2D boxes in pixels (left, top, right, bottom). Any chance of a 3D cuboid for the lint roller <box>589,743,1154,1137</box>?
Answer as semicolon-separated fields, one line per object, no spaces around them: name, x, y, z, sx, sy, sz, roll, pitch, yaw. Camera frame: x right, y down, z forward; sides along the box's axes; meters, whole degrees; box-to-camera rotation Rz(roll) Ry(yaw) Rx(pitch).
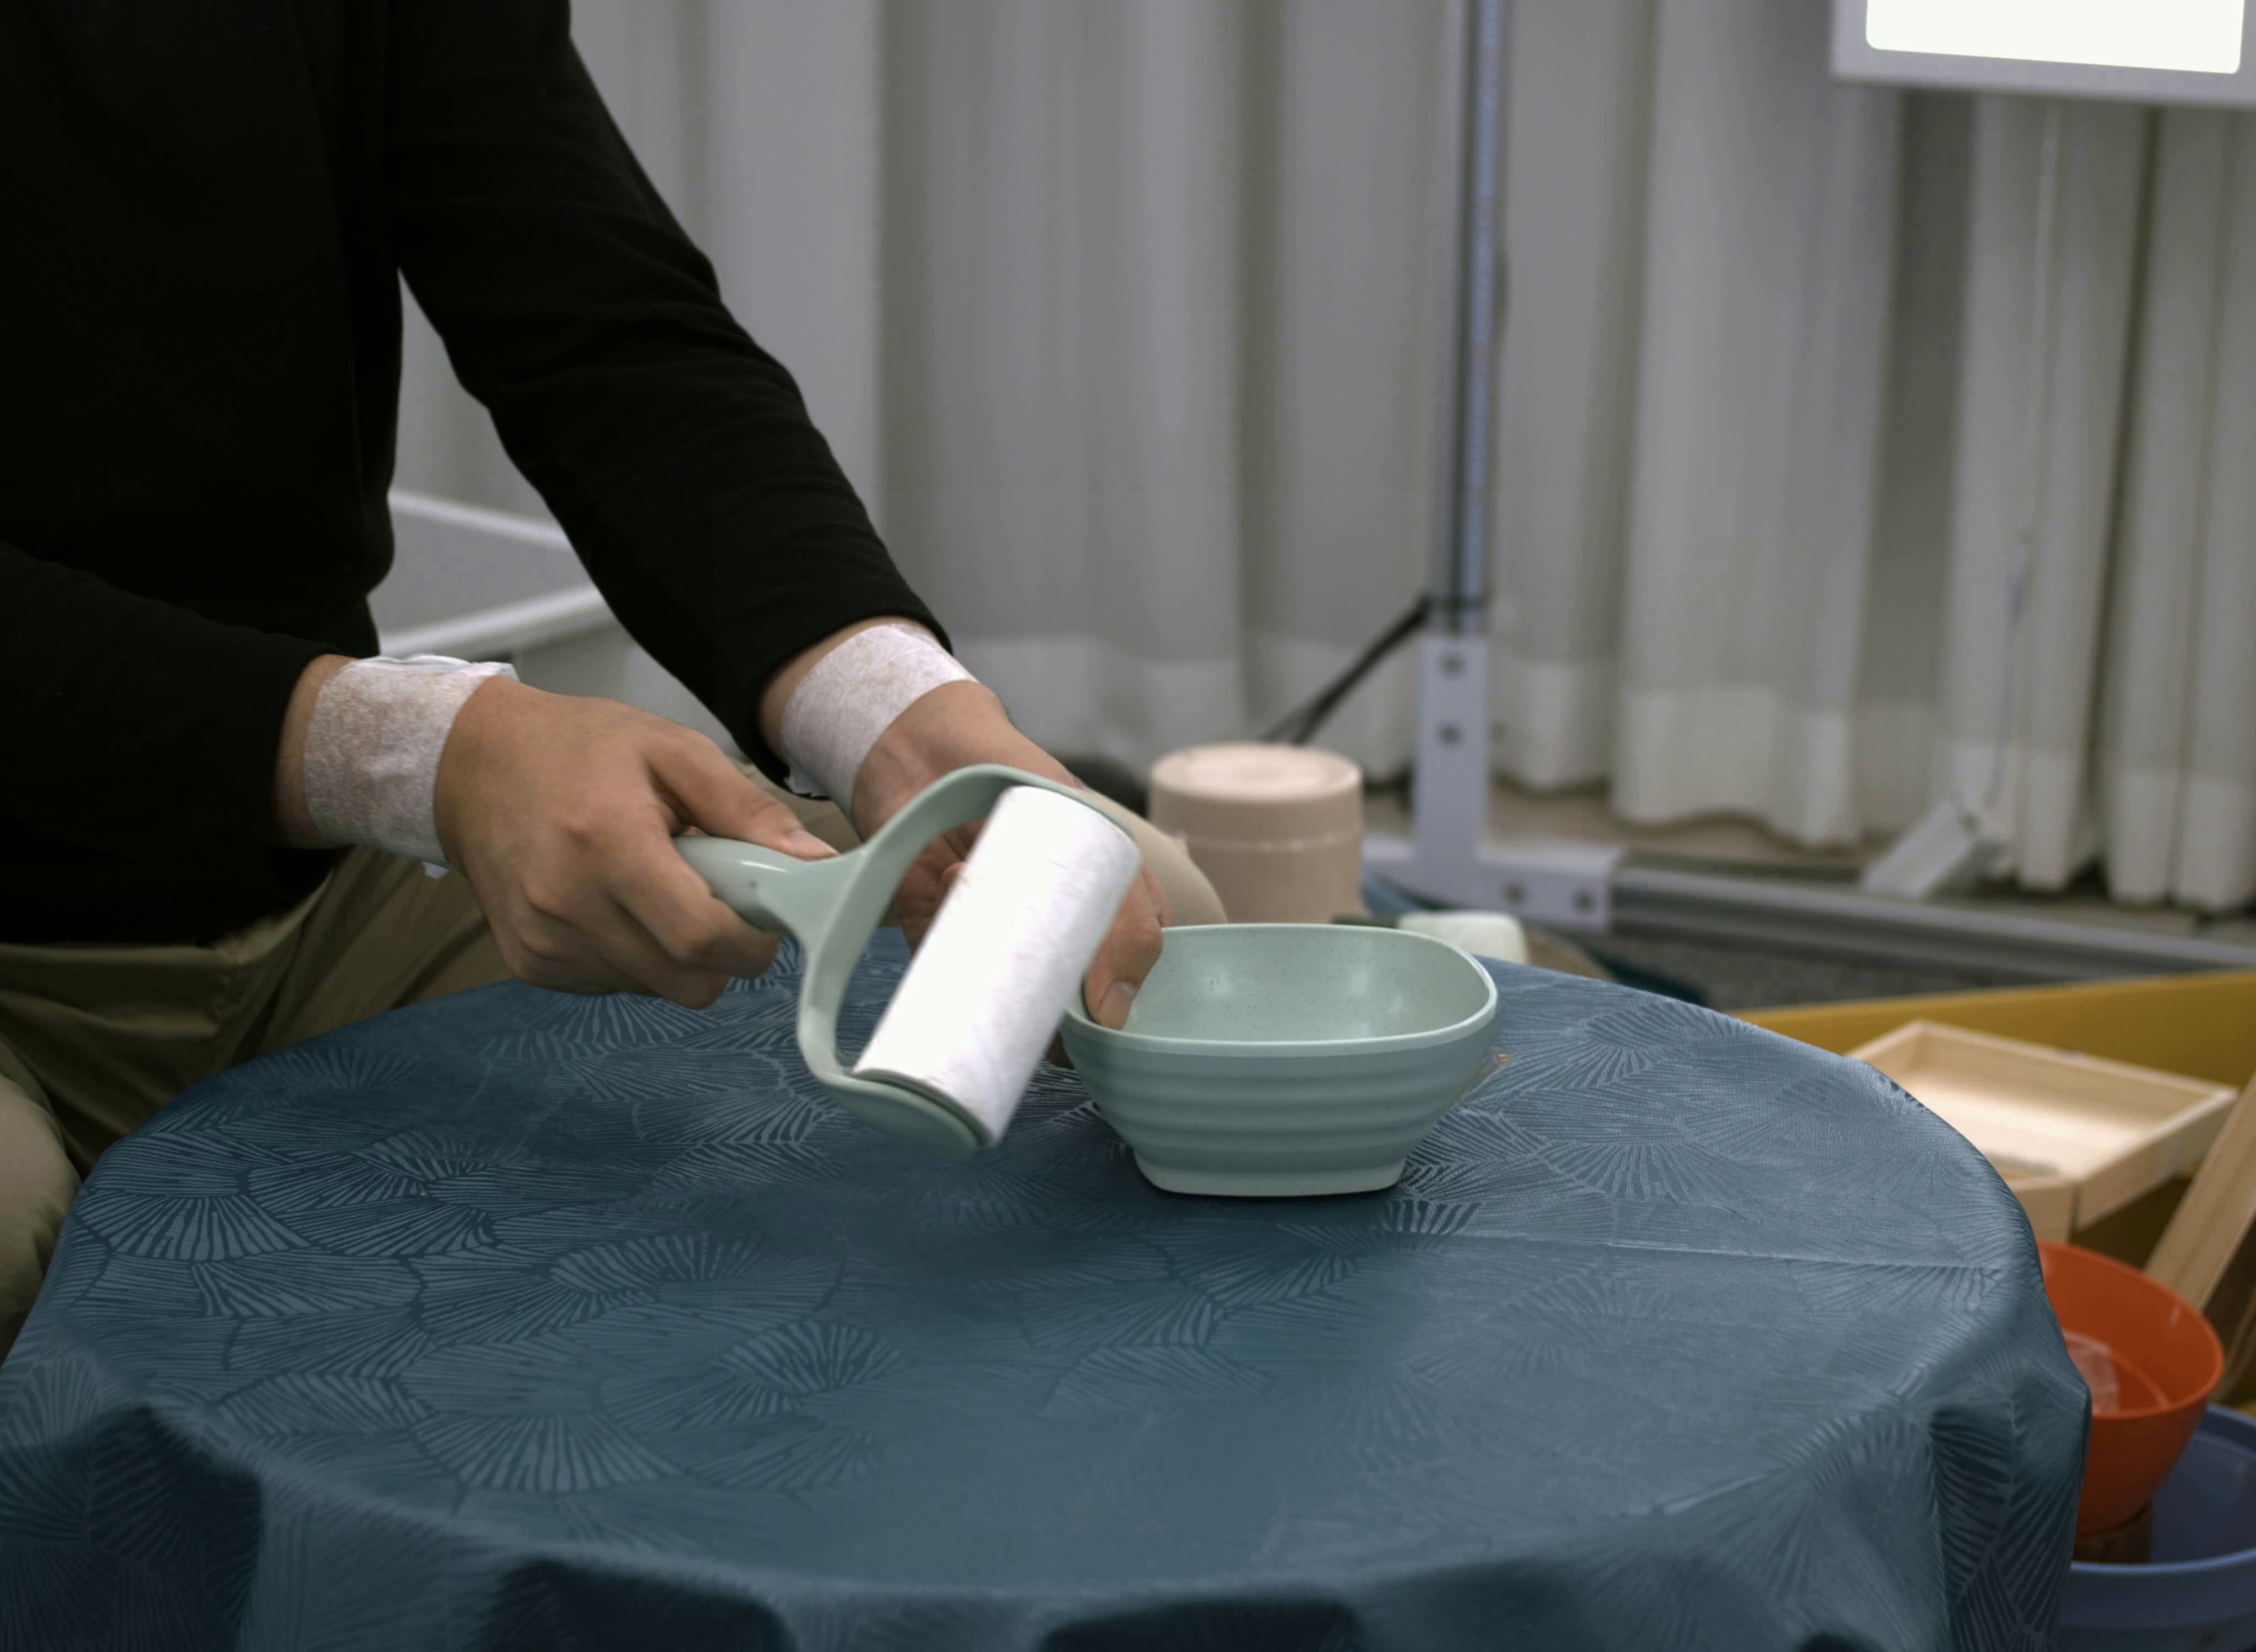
lint roller;-0.092;0.022;1.598;0.195;0.116;0.049;13;-23;33

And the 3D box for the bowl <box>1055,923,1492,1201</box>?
bowl;0.043;0.076;1.643;0.151;0.059;0.150;2;15;0
